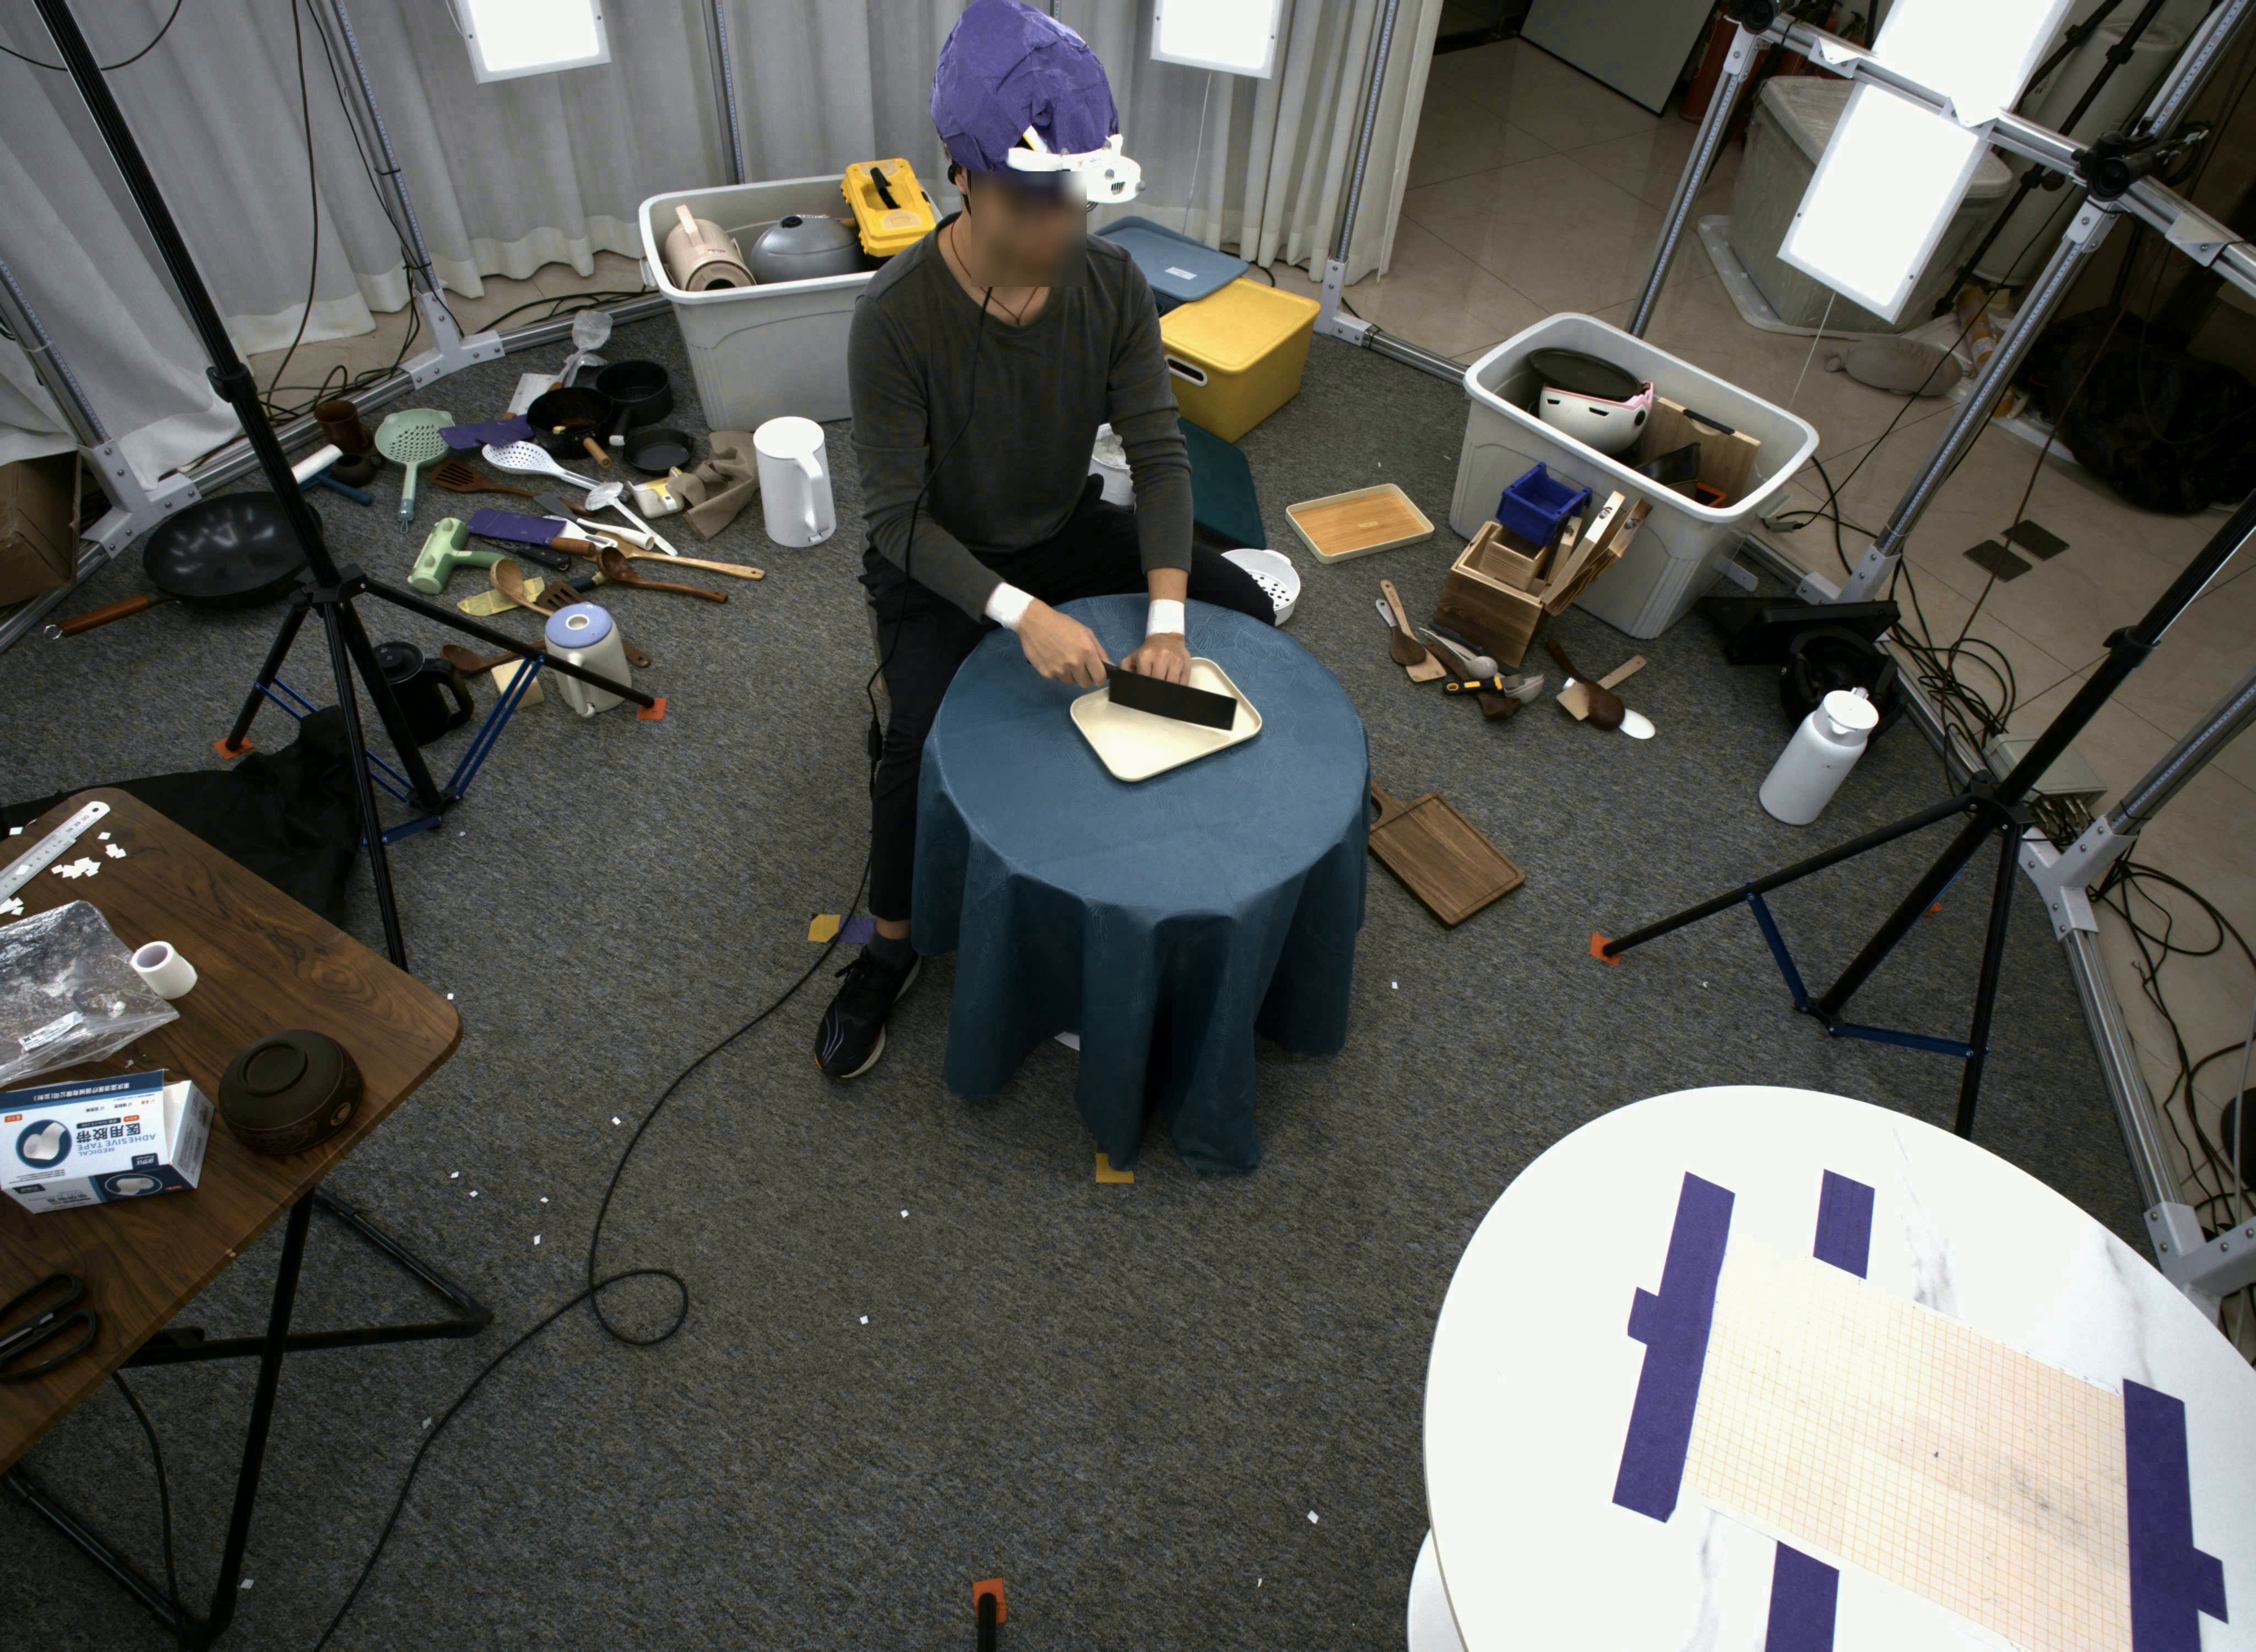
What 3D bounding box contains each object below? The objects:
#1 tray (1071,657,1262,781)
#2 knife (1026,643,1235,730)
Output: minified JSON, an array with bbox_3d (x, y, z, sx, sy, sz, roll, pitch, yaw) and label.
[{"bbox_3d":[0.054,-0.150,1.790,0.240,0.017,0.175,-22,53,-21],"label":"tray"},{"bbox_3d":[0.001,-0.195,1.781,0.303,0.079,0.021,19,48,6],"label":"knife"}]
